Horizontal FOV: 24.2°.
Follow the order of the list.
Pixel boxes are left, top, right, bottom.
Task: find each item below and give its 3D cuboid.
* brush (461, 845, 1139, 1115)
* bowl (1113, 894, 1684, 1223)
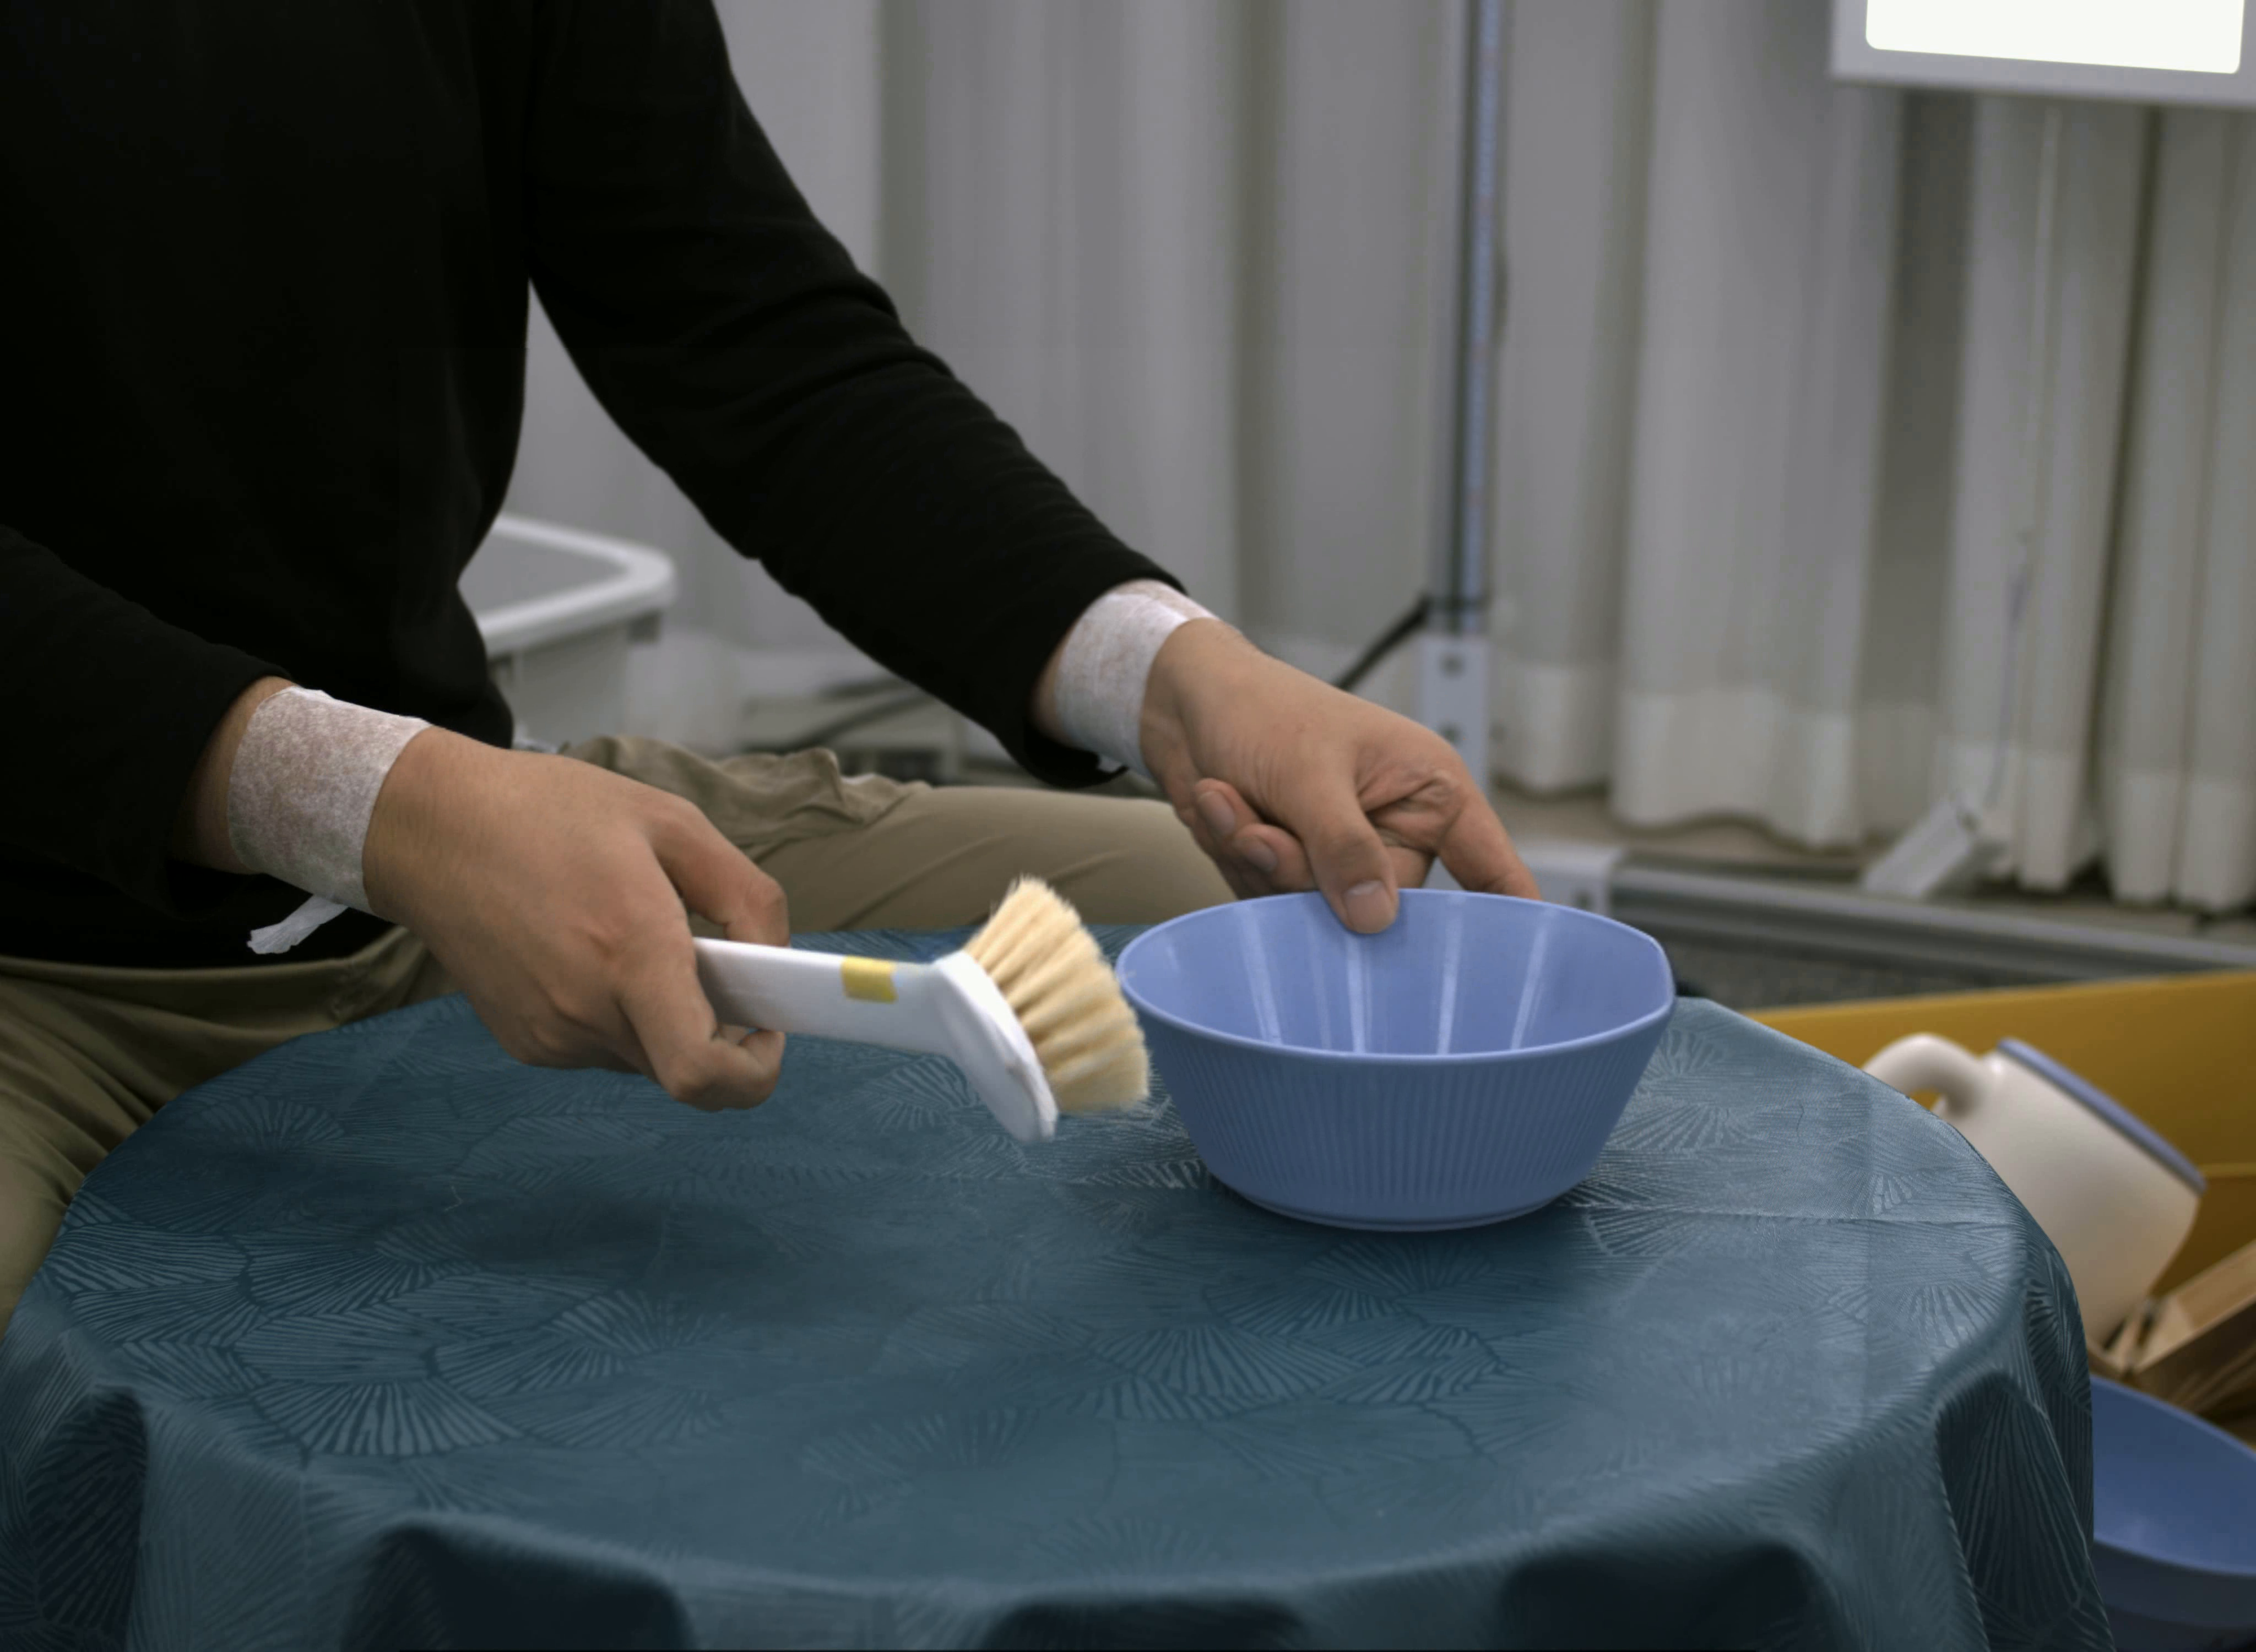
[{"bbox_3d":[-0.096,0.038,1.535,0.263,0.069,0.056,7,33,46],"label":"brush"},{"bbox_3d":[0.082,0.074,1.627,0.175,0.071,0.175,1,15,0],"label":"bowl"}]
